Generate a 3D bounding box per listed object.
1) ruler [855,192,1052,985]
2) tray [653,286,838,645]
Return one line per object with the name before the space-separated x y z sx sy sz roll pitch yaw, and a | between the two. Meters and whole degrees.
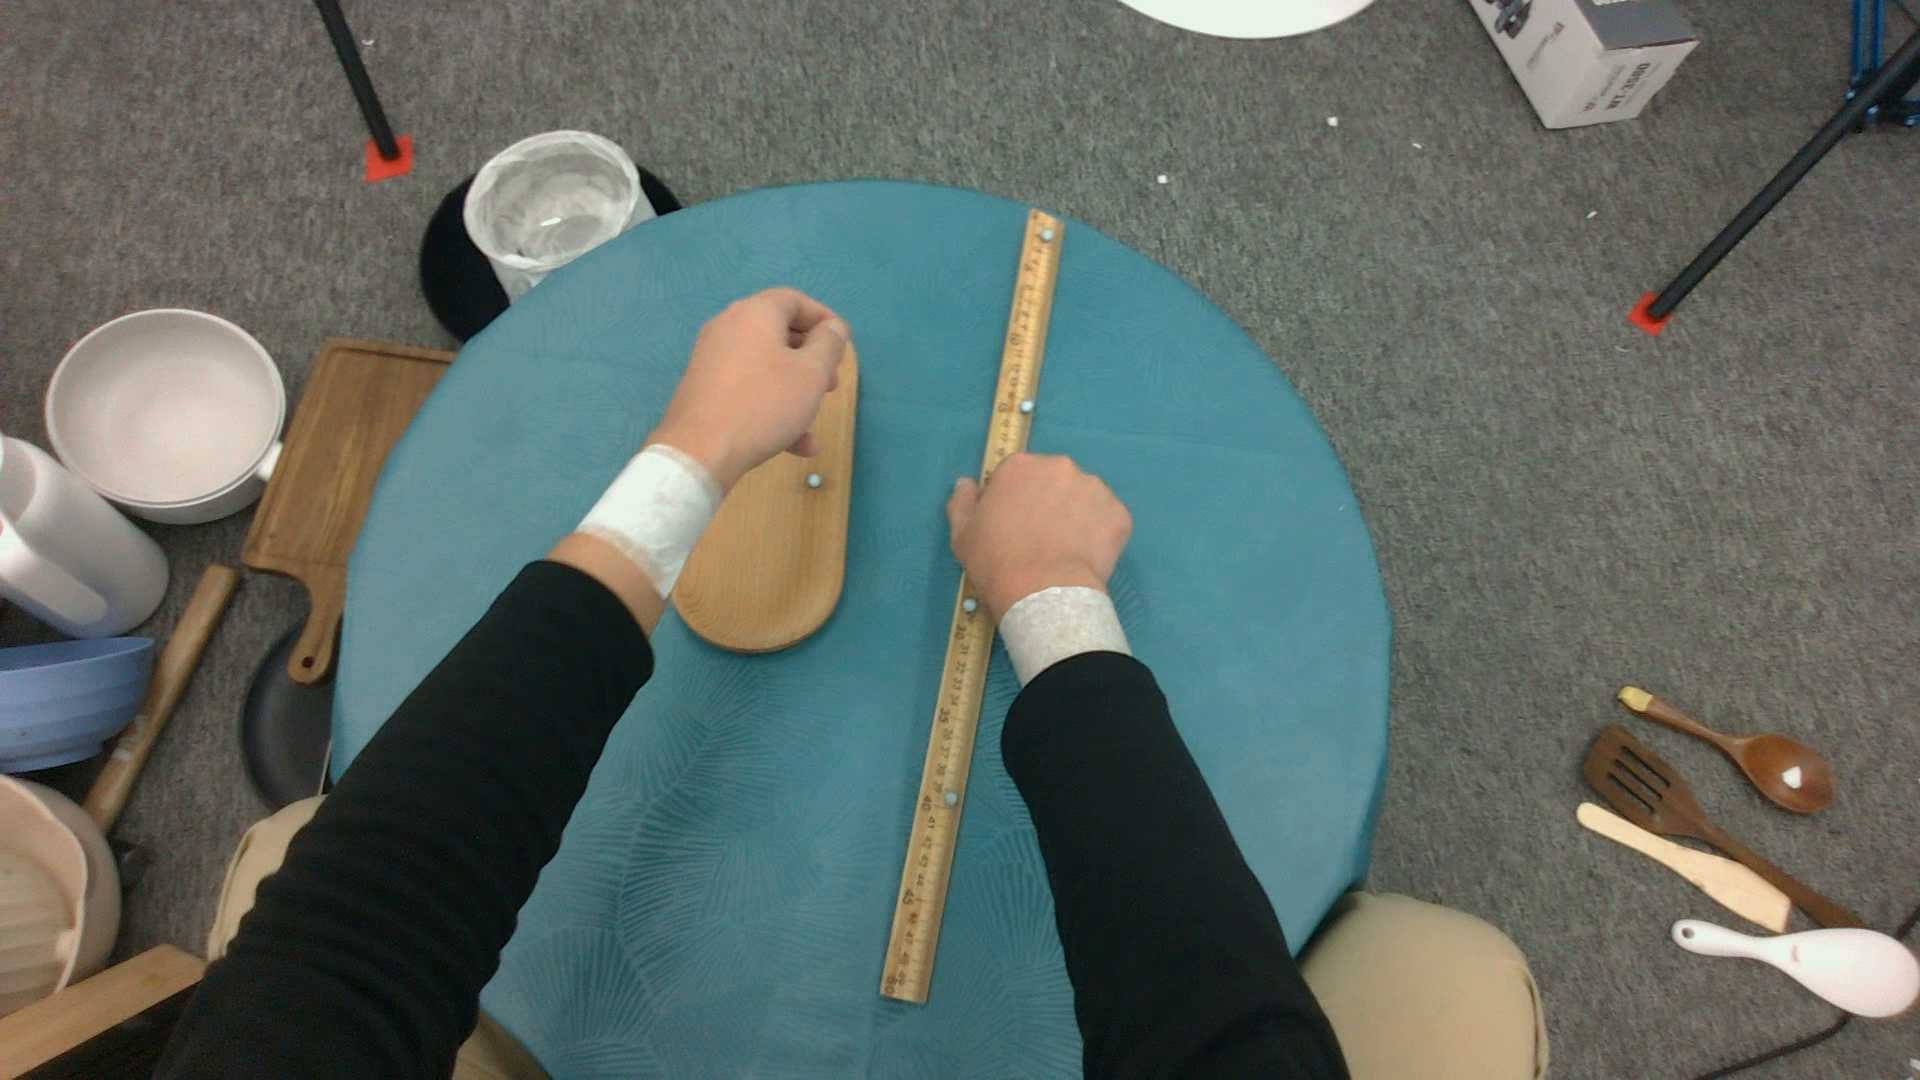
ruler | 0.003 0.000 0.802 0.027 0.006 0.502 21 64 -20
tray | -0.124 -0.048 0.811 0.102 0.020 0.232 0 68 -3
